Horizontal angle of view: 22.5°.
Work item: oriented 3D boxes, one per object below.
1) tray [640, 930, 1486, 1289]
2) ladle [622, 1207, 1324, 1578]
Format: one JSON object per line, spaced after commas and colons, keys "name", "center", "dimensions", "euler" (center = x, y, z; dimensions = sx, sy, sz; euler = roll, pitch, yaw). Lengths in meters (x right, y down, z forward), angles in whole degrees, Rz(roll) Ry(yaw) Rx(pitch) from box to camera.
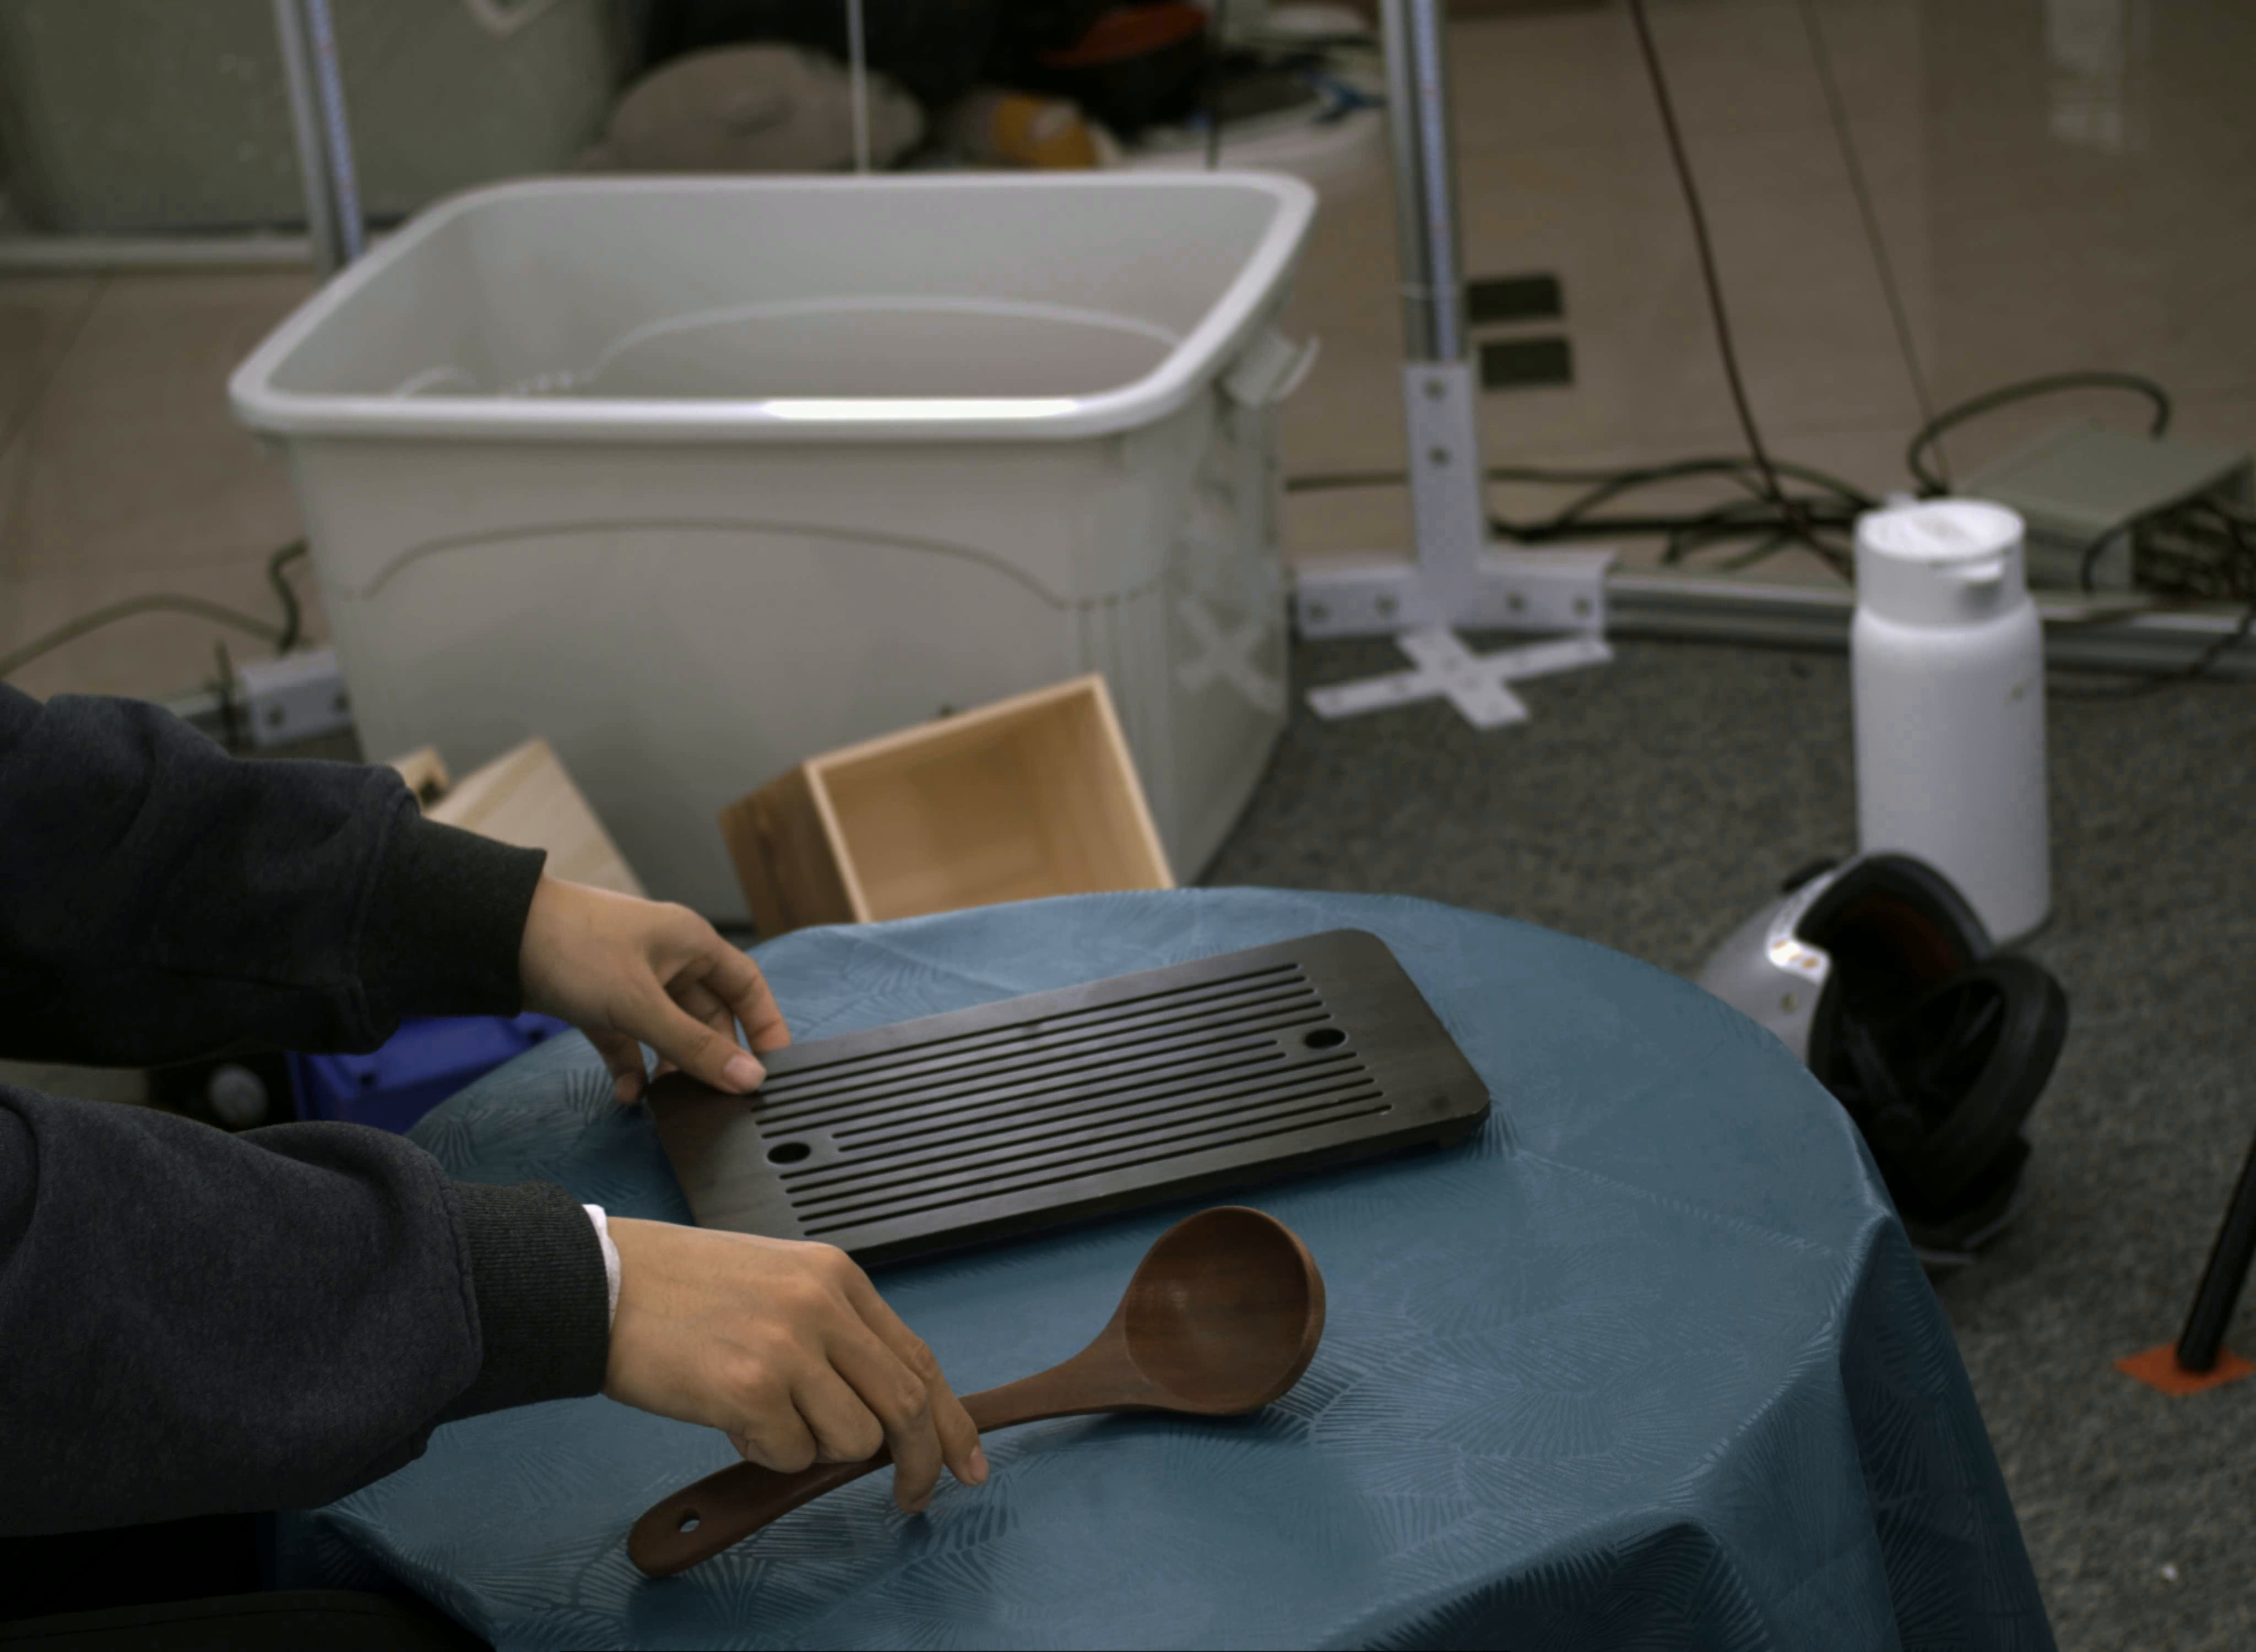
{"name": "tray", "center": [-0.028, 0.109, 2.194], "dimensions": [0.305, 0.019, 0.168], "euler": [-12, 26, -10]}
{"name": "ladle", "center": [-0.053, 0.198, 1.960], "dimensions": [0.259, 0.066, 0.075], "euler": [-16, 54, -21]}
